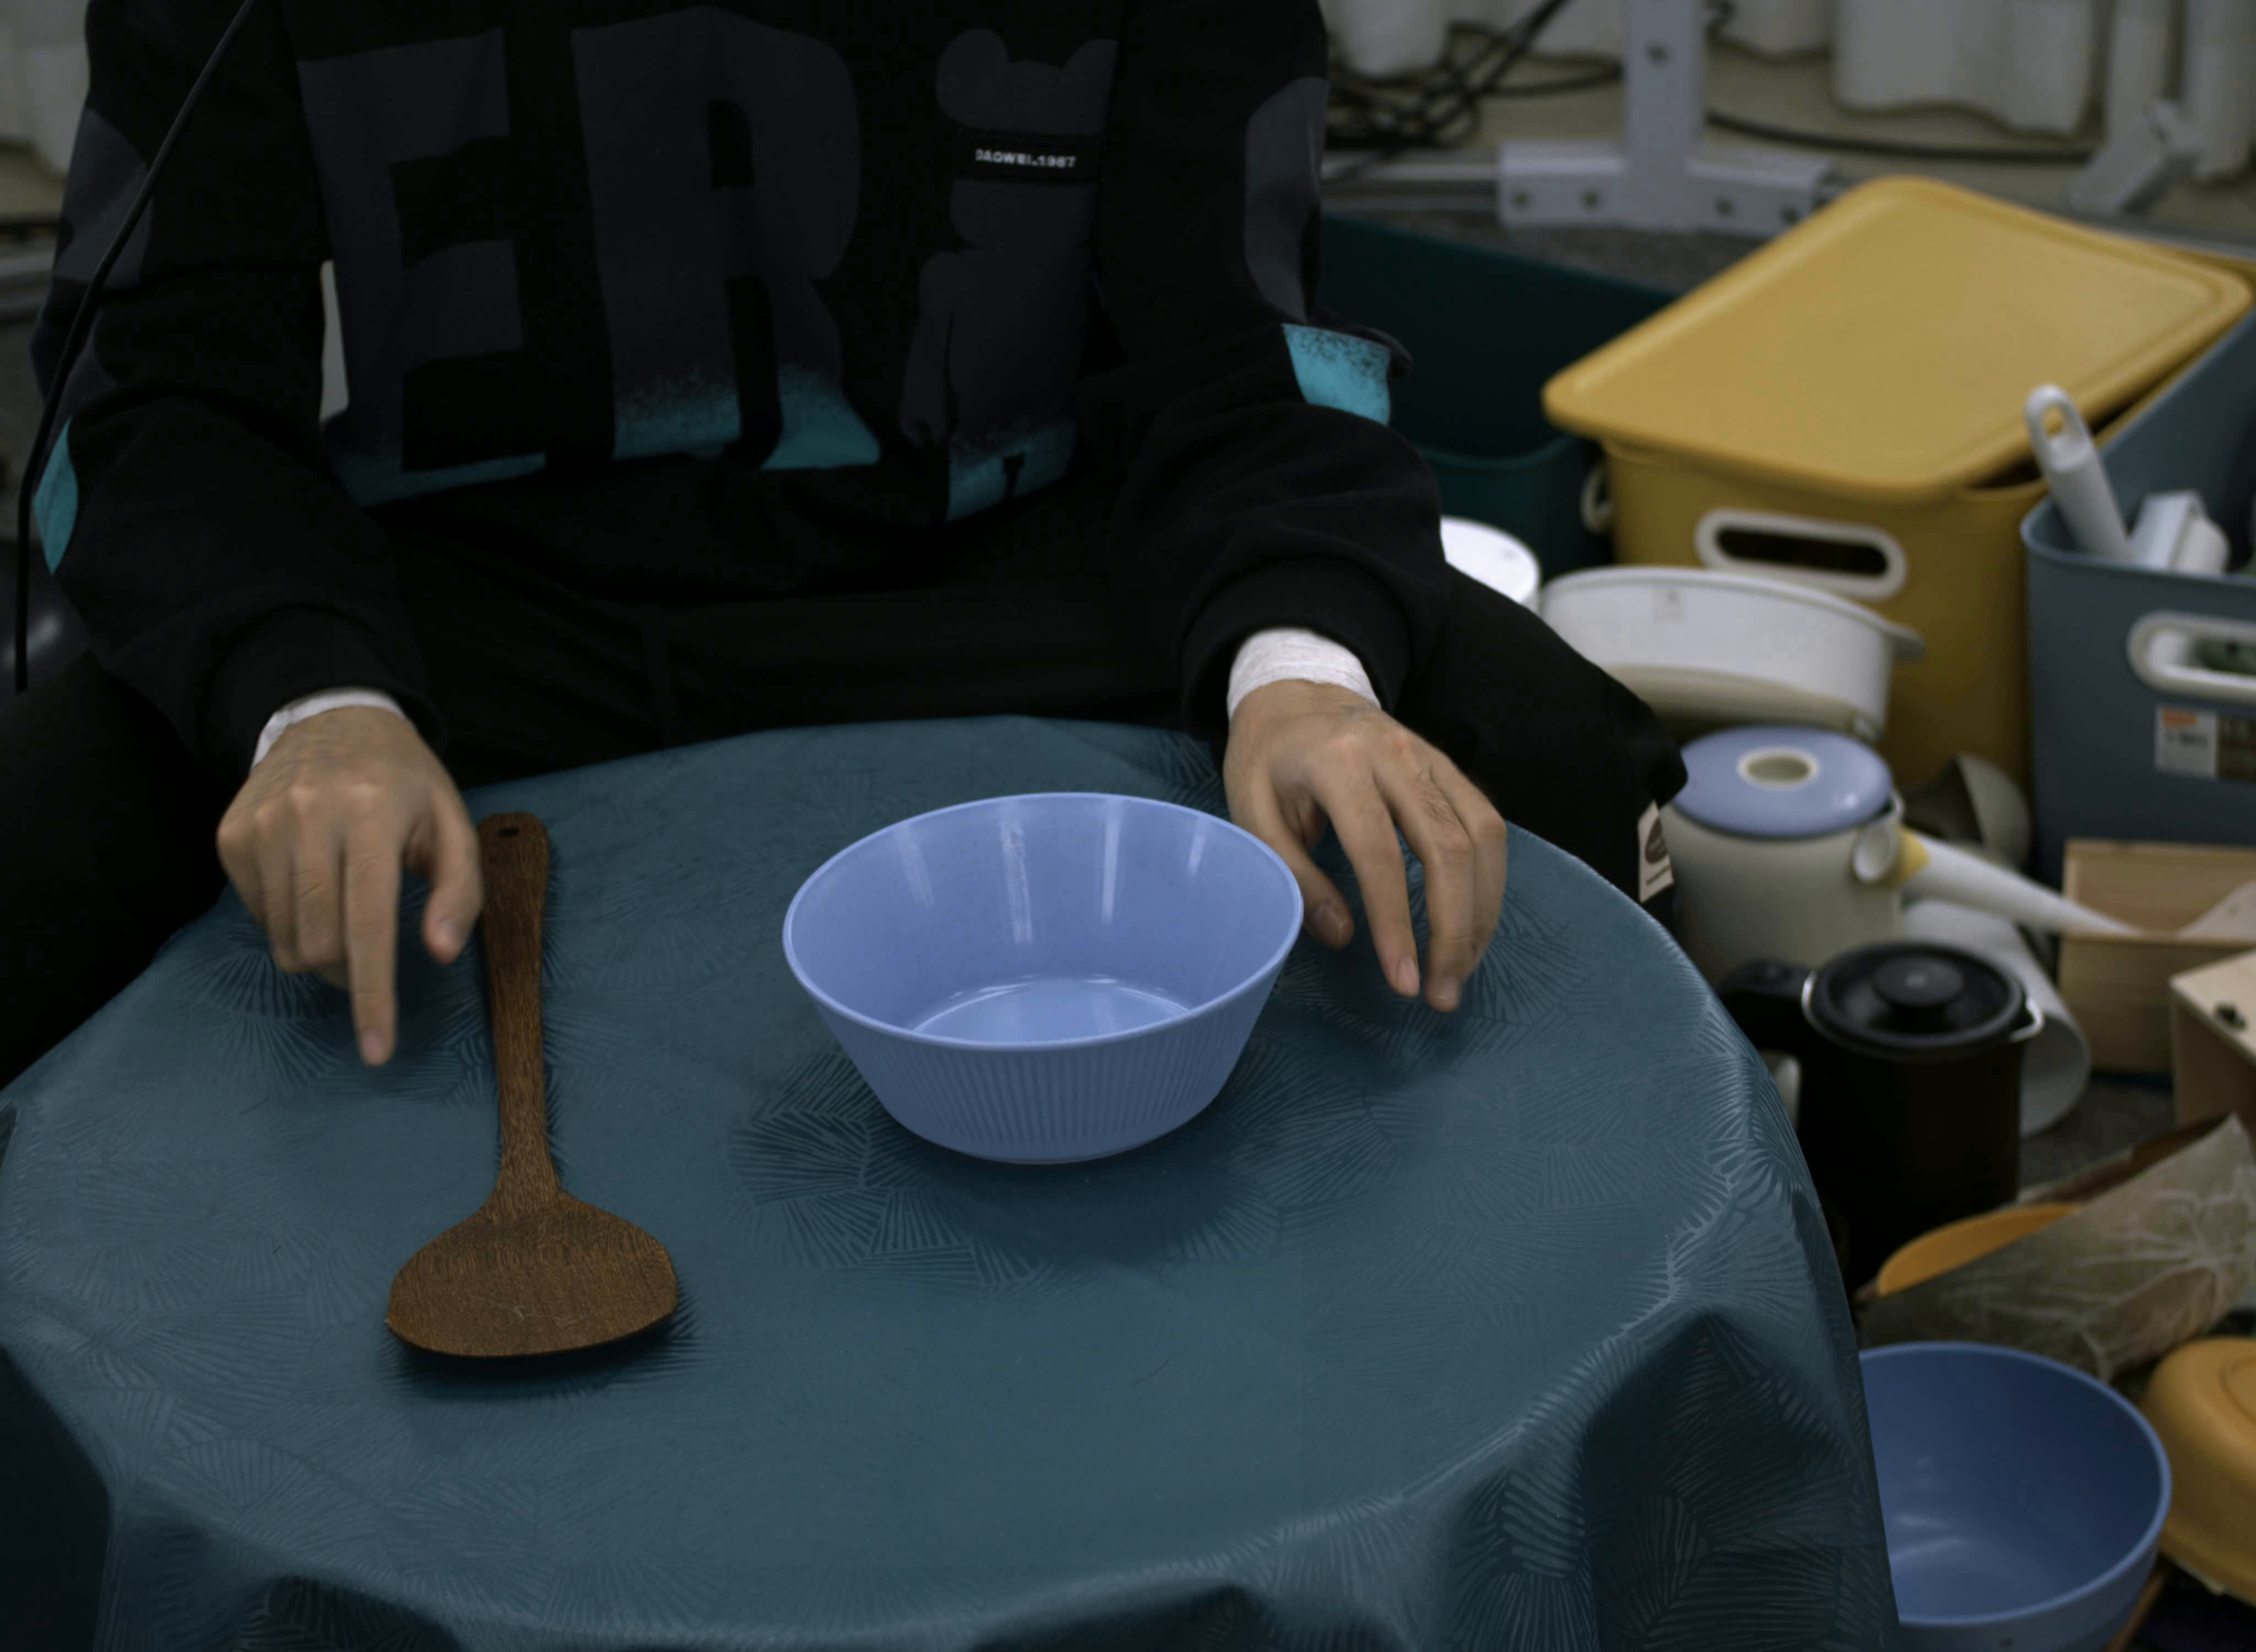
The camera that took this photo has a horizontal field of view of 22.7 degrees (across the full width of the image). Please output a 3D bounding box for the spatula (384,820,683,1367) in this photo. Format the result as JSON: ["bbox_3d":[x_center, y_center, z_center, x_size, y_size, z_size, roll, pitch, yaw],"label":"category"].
[{"bbox_3d":[-0.210,0.084,1.941,0.096,0.015,0.391,-5,27,-5],"label":"spatula"}]

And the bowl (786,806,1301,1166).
[{"bbox_3d":[-0.027,0.060,1.909,0.175,0.069,0.178,-2,26,1],"label":"bowl"}]
